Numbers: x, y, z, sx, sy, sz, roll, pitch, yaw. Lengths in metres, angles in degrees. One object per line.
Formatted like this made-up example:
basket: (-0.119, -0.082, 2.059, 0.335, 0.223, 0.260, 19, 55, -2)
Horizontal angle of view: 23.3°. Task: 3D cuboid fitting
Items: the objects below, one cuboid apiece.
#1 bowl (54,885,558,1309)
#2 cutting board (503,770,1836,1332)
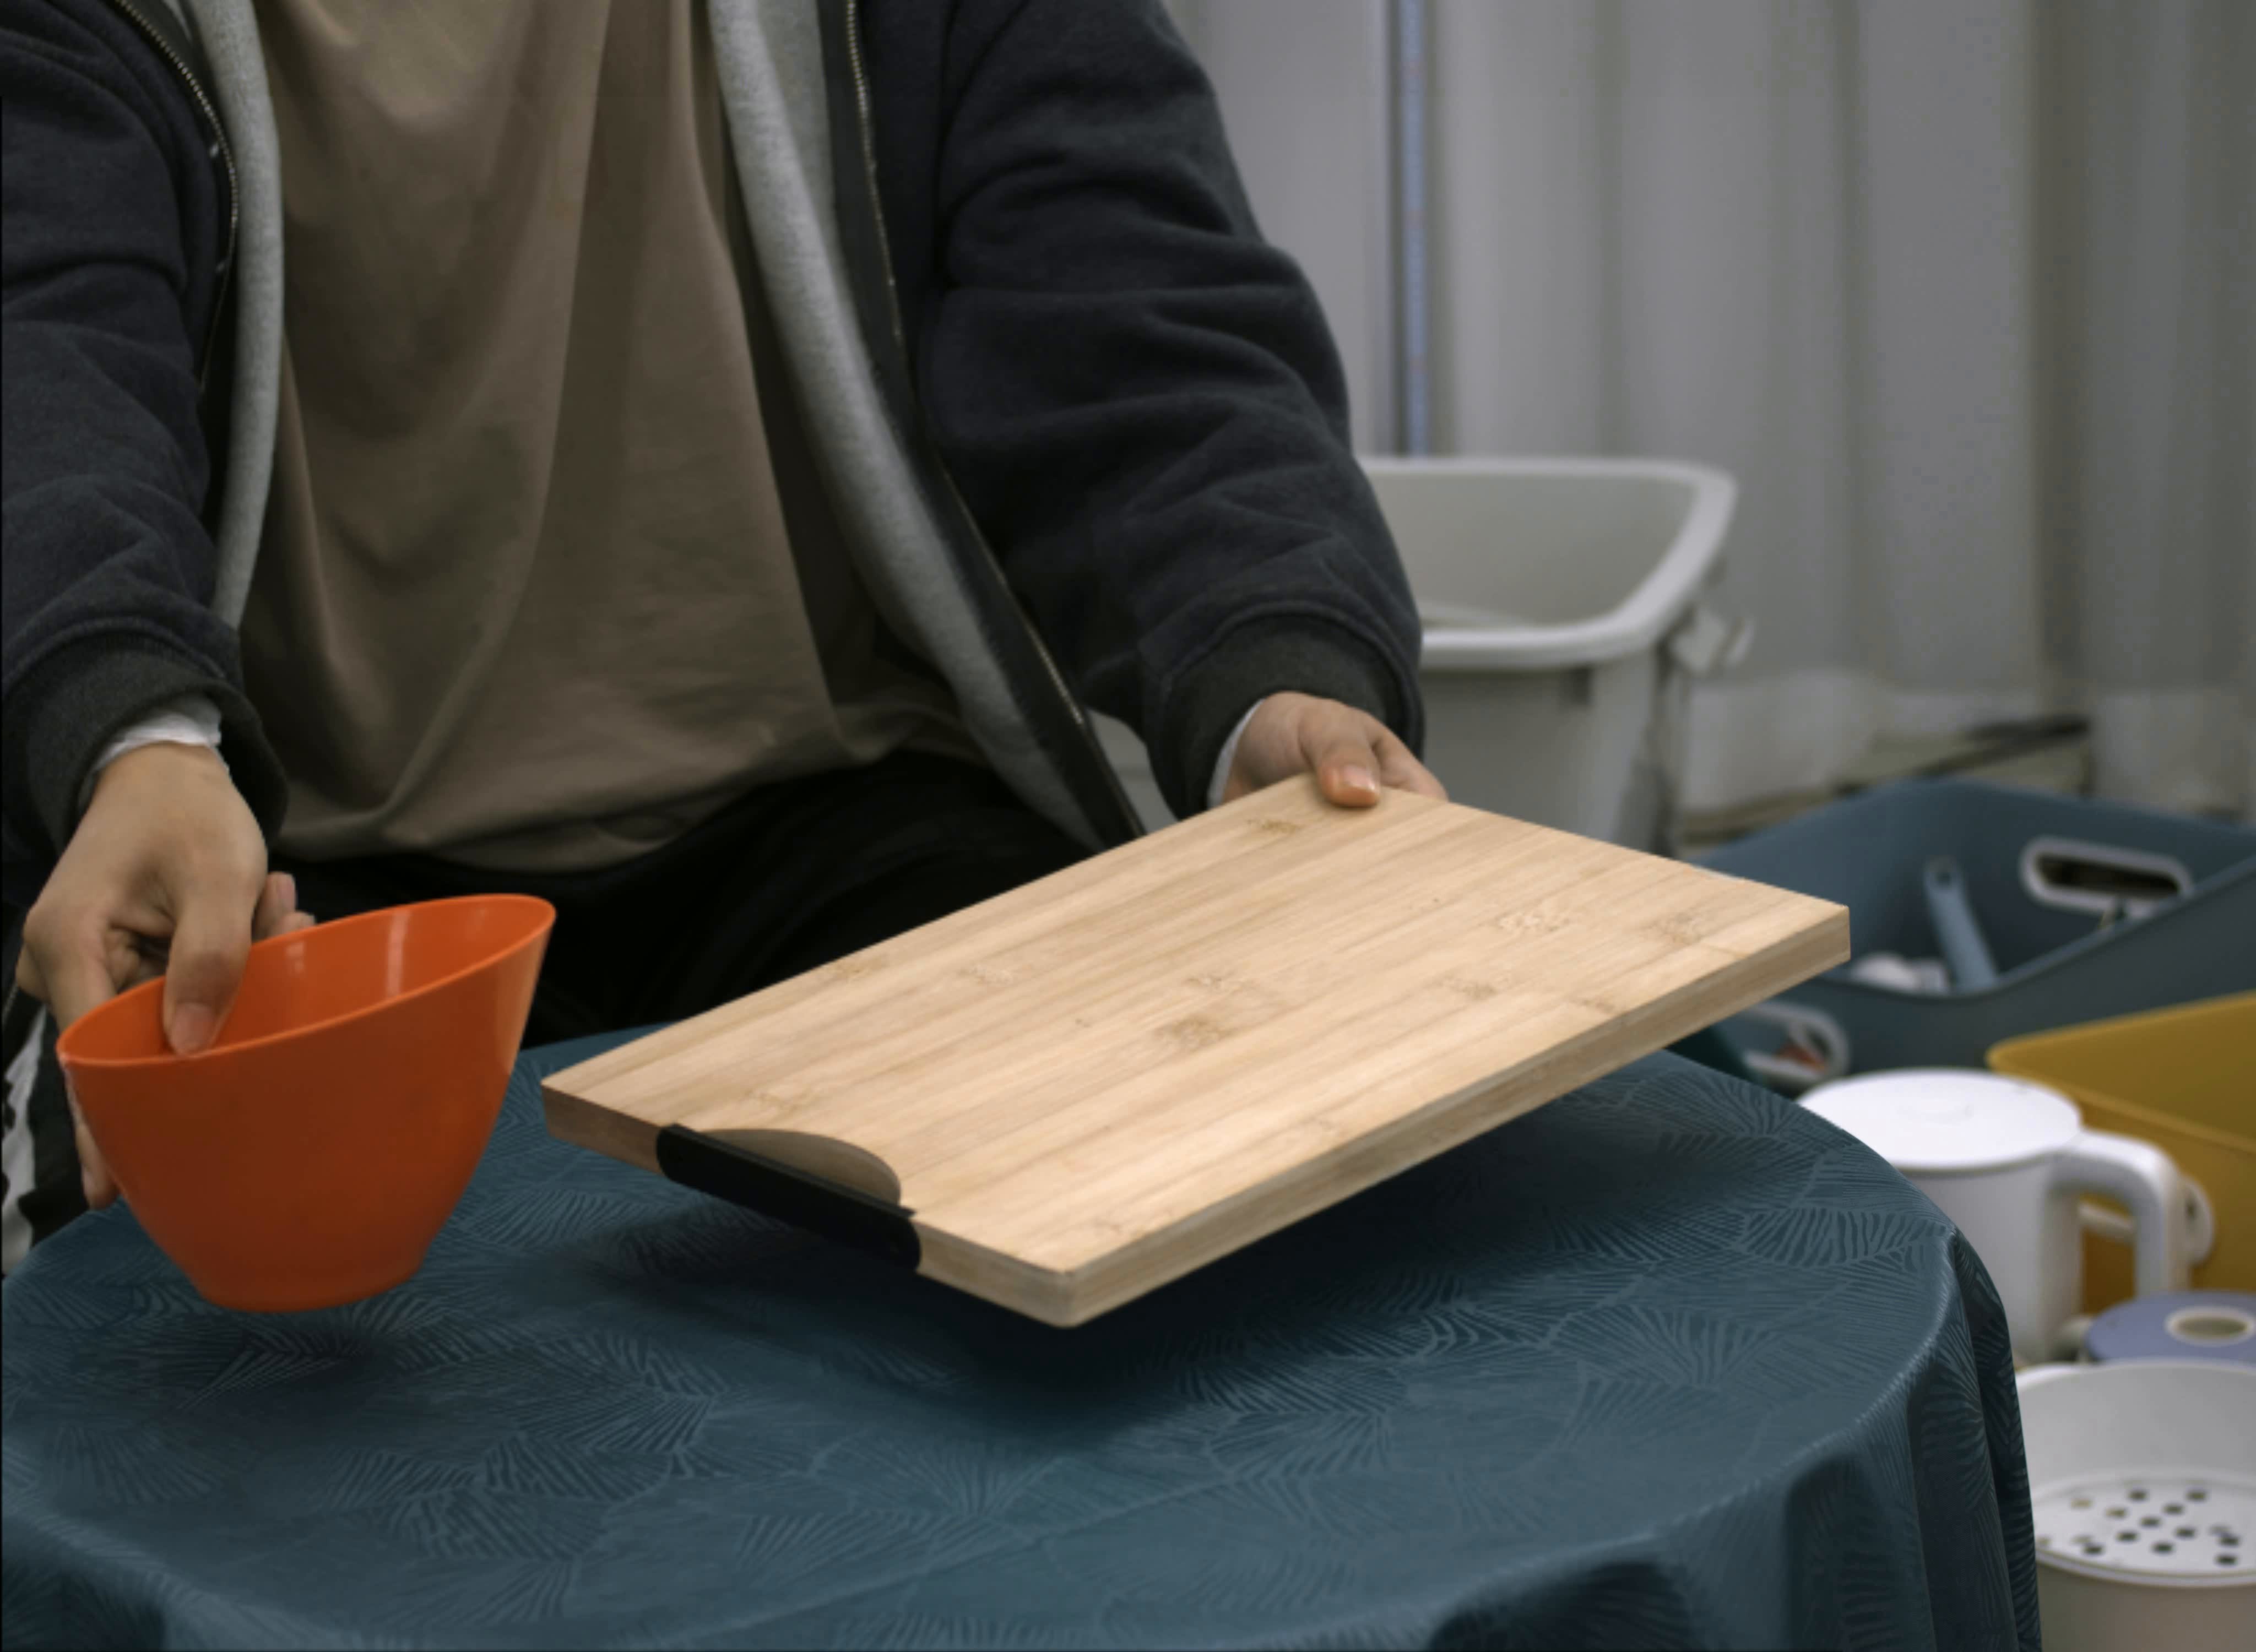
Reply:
bowl: (-0.233, 0.081, 1.587, 0.147, 0.104, 0.149, -5, 17, 1)
cutting board: (0.018, 0.061, 1.691, 0.348, 0.023, 0.252, -22, 25, -39)
